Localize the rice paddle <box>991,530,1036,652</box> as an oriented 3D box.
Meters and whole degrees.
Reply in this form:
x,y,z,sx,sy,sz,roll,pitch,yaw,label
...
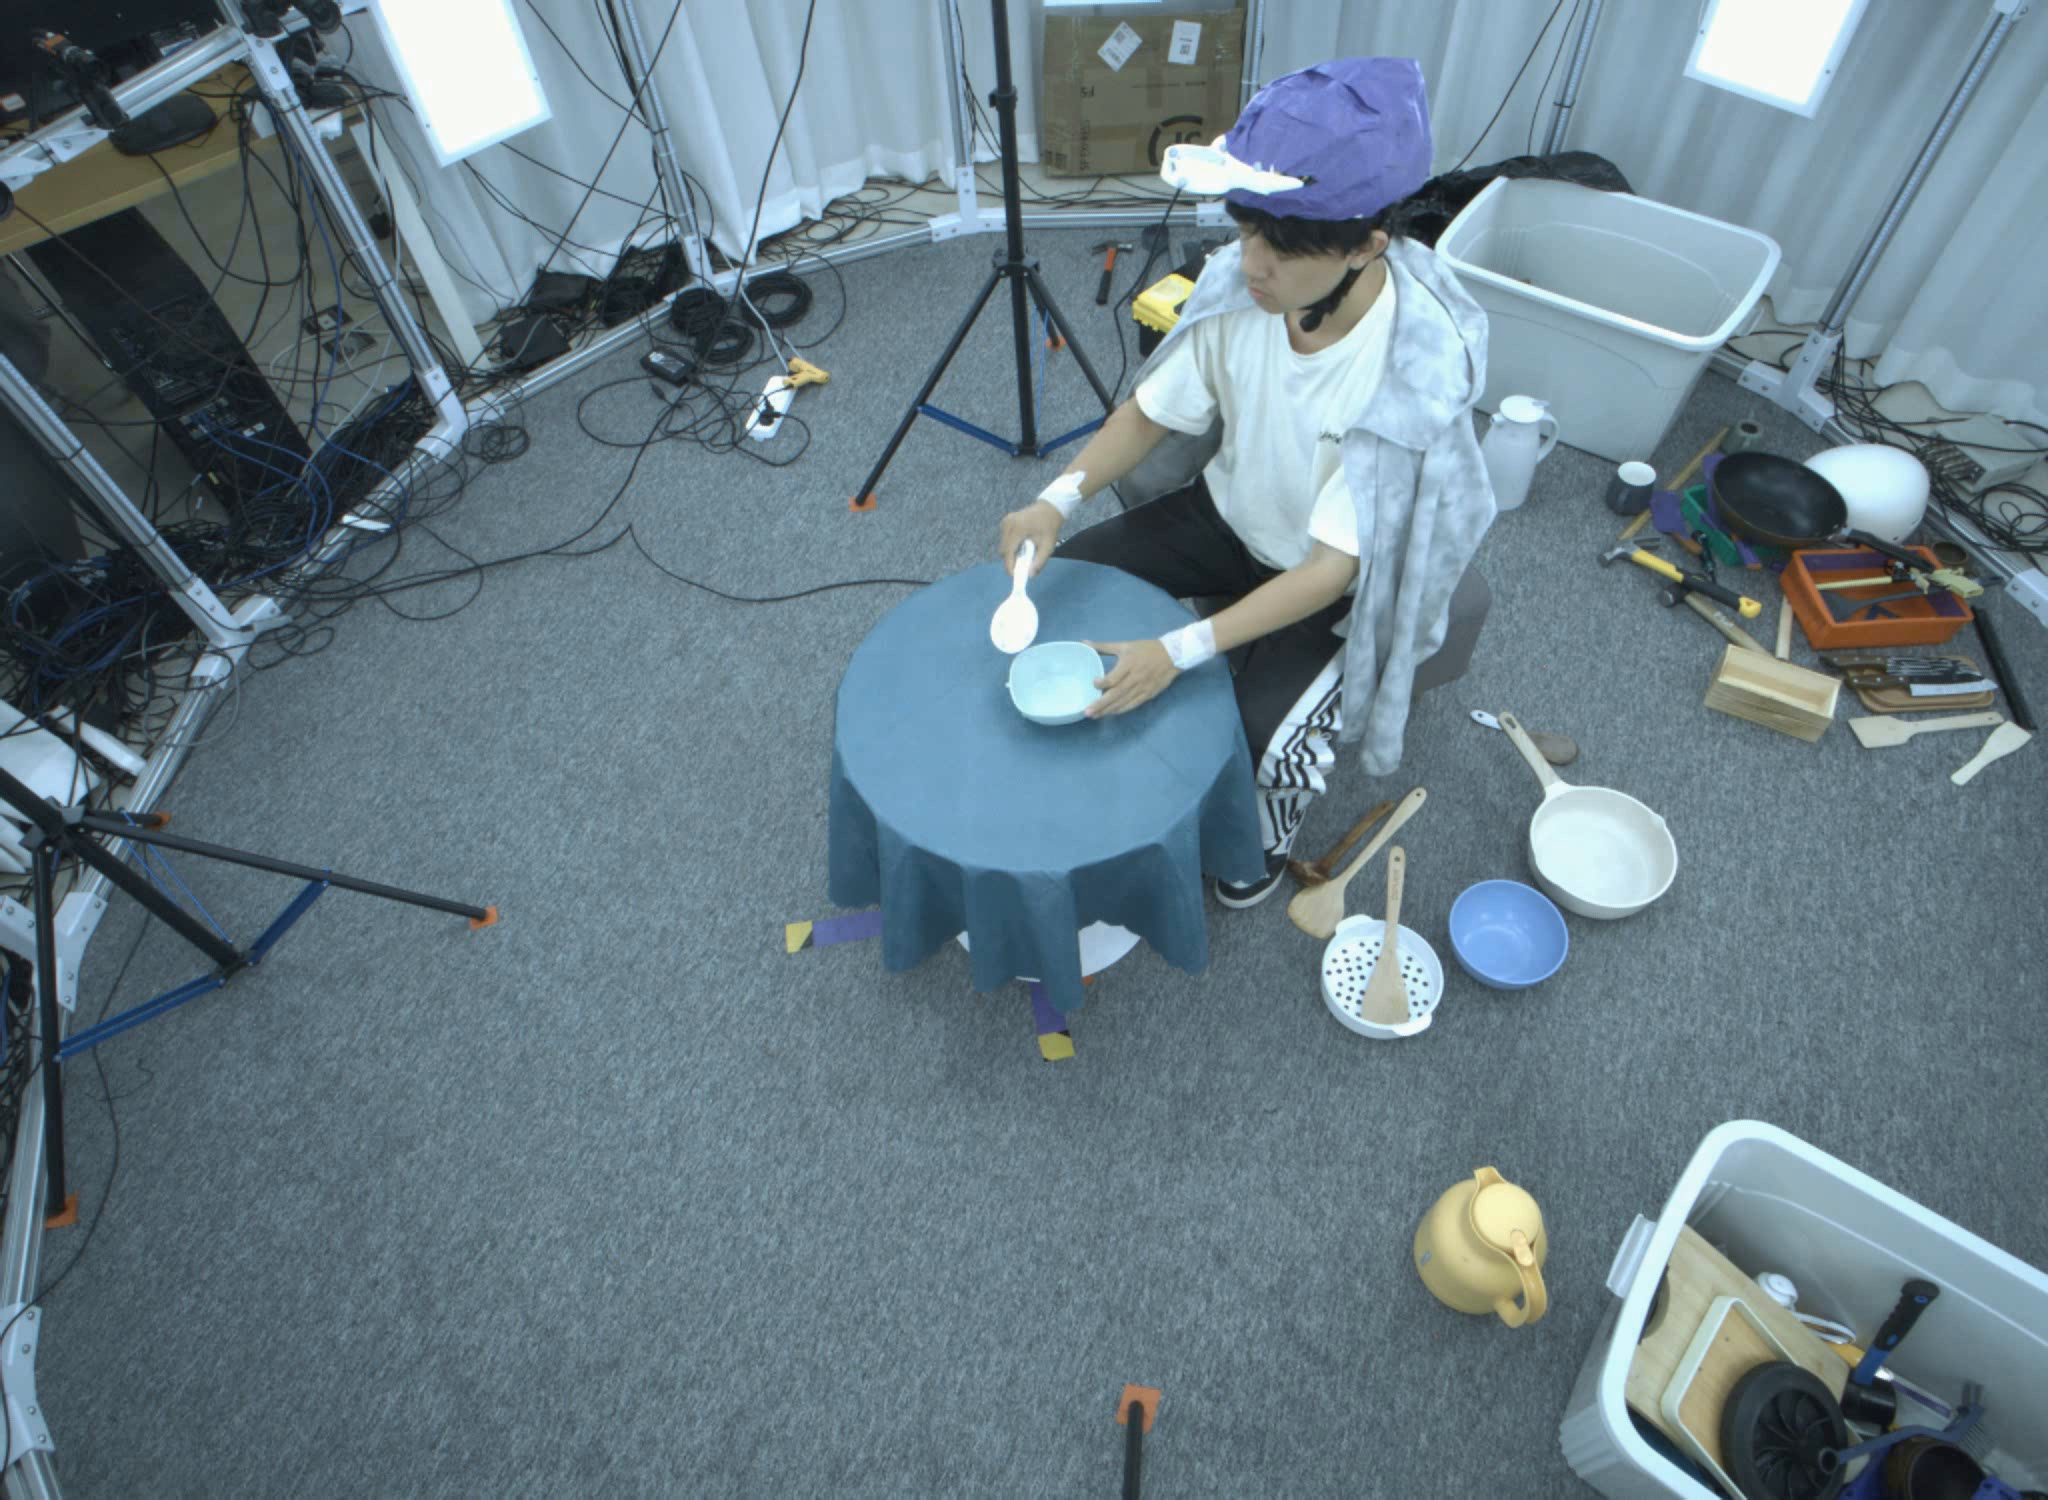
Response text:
x,y,z,sx,sy,sz,roll,pitch,yaw,label
-0.009,-0.236,1.825,0.068,0.030,0.204,0,65,14,rice paddle

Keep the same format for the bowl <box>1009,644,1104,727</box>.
x,y,z,sx,sy,sz,roll,pitch,yaw,label
0.050,-0.085,1.814,0.151,0.059,0.150,-2,53,5,bowl
